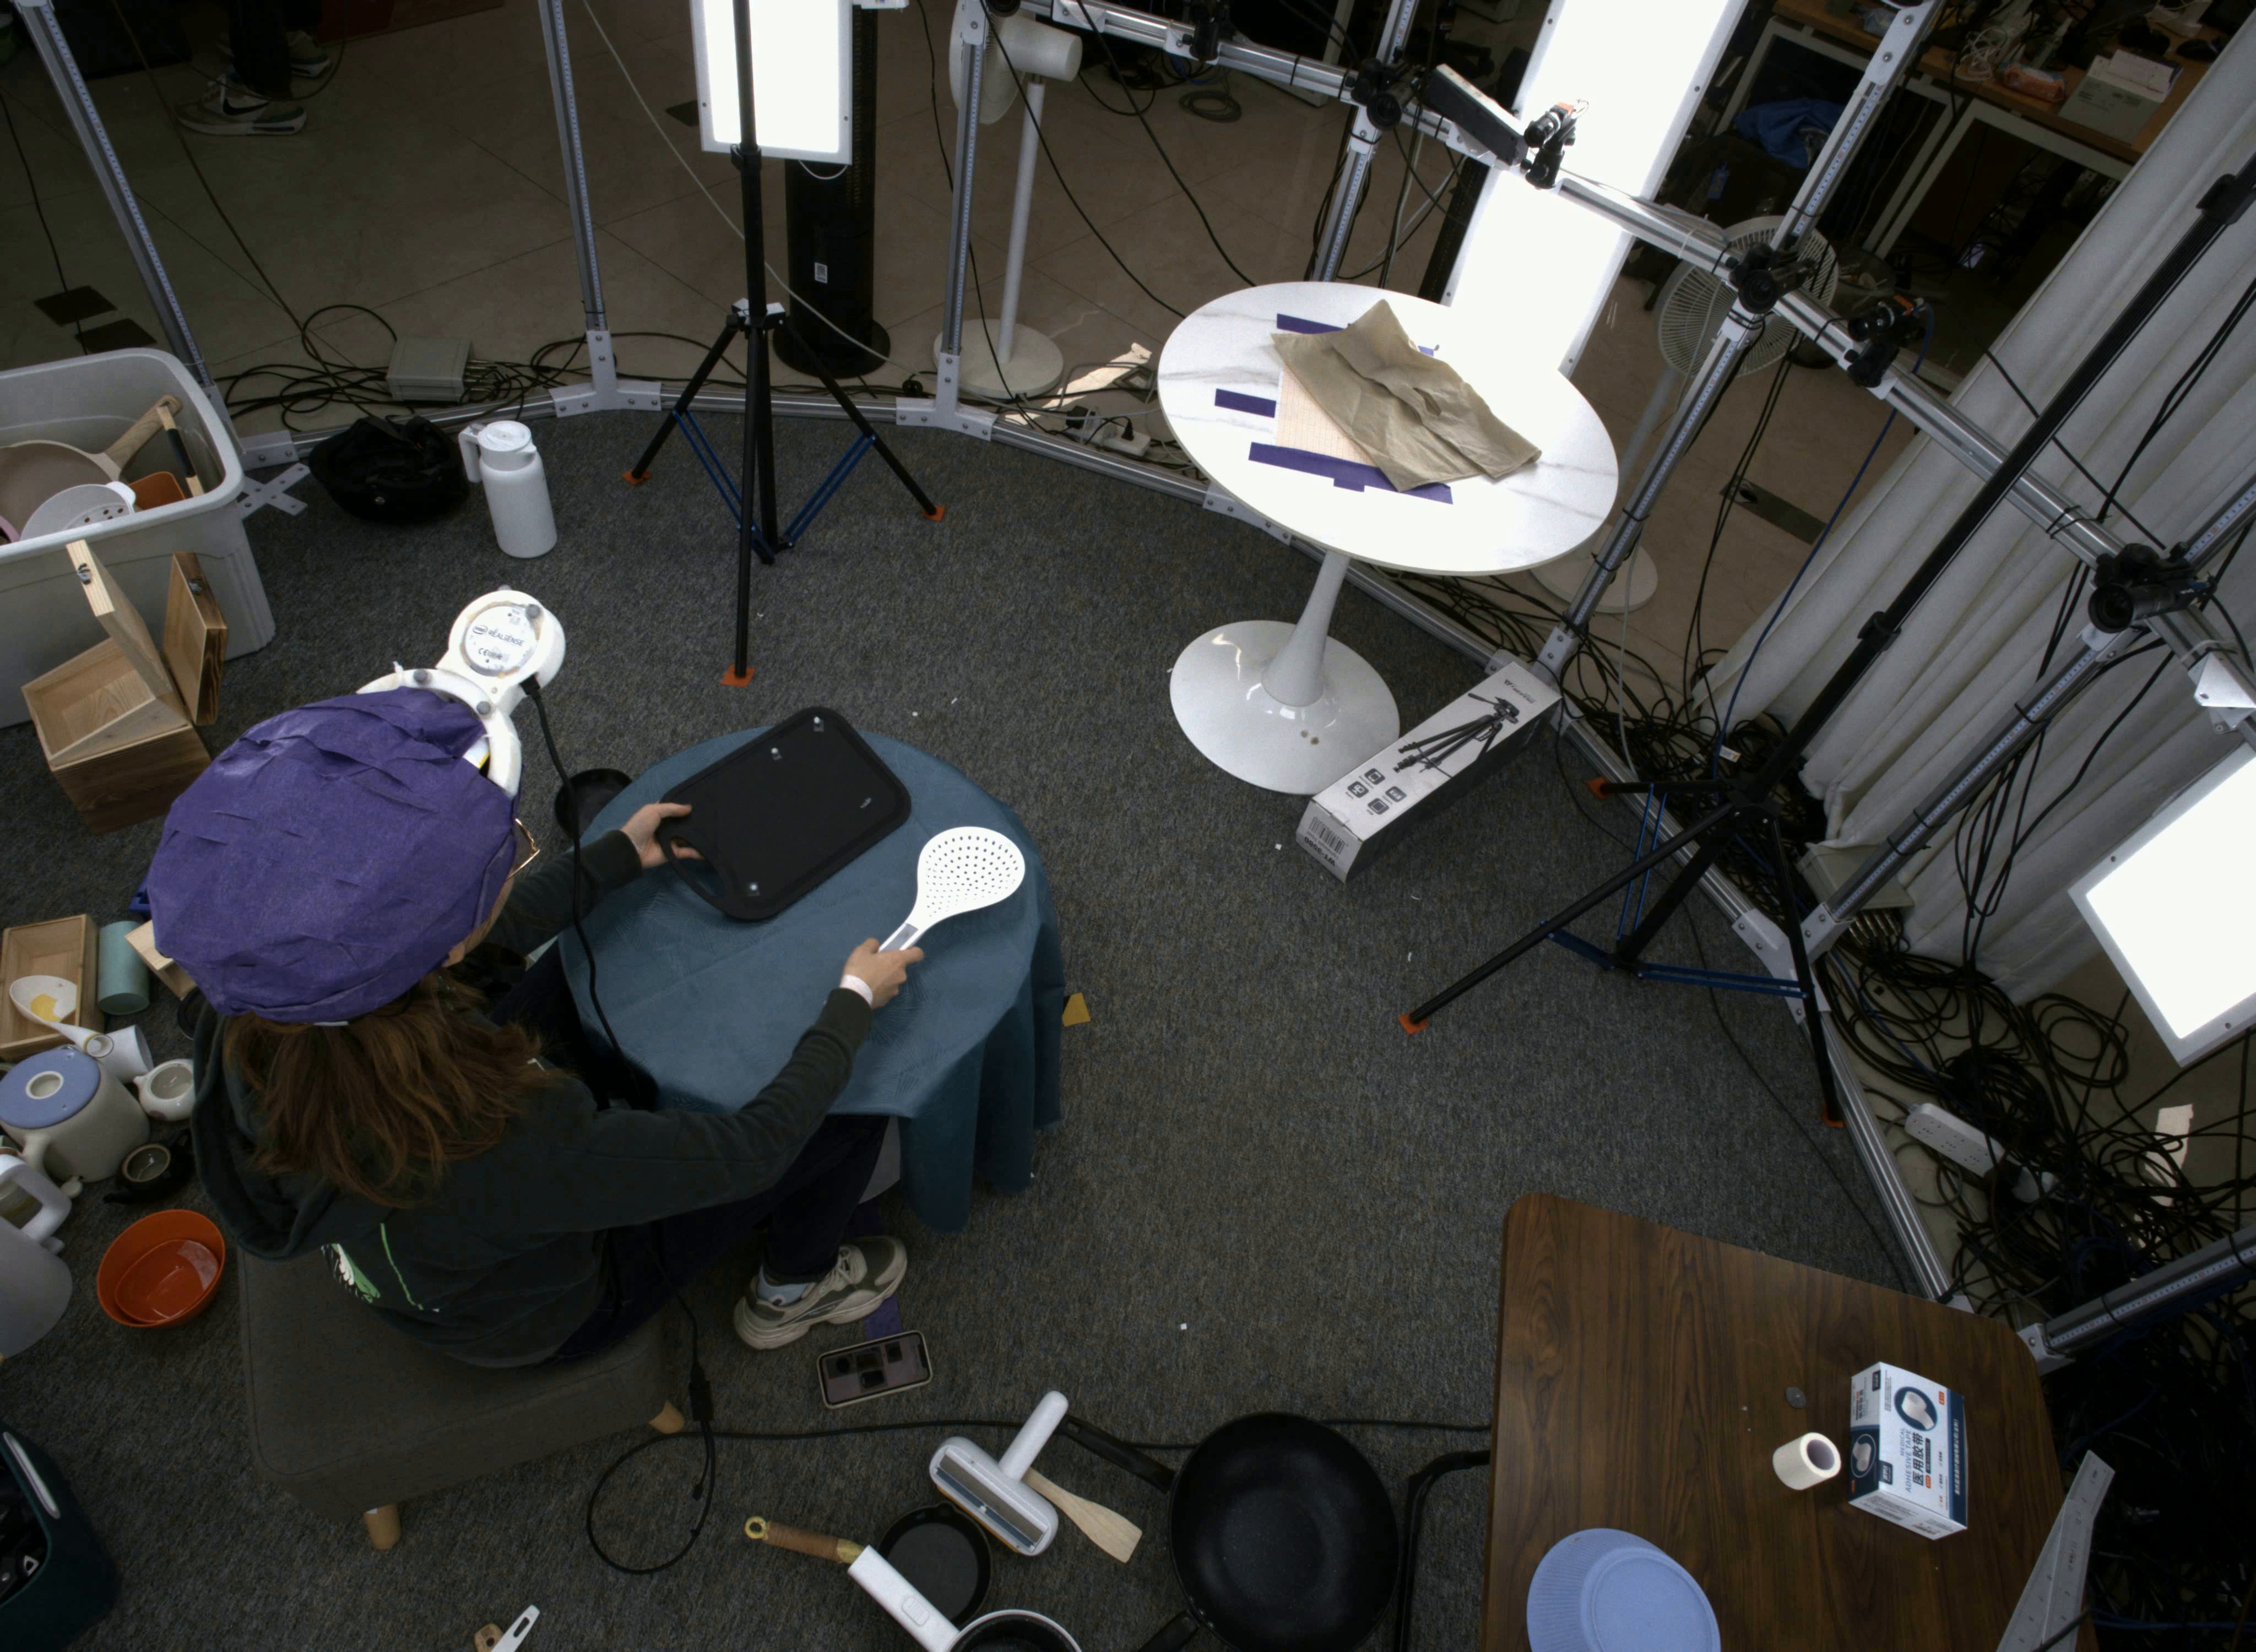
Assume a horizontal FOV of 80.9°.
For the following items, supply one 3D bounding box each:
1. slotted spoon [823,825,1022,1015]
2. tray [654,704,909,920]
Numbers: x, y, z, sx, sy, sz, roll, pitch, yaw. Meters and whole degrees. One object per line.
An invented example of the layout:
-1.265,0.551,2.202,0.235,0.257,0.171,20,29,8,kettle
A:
-0.260,0.114,1.632,0.133,0.047,0.349,28,43,15,slotted spoon
-0.452,-0.021,1.691,0.211,0.010,0.326,49,55,1,tray
